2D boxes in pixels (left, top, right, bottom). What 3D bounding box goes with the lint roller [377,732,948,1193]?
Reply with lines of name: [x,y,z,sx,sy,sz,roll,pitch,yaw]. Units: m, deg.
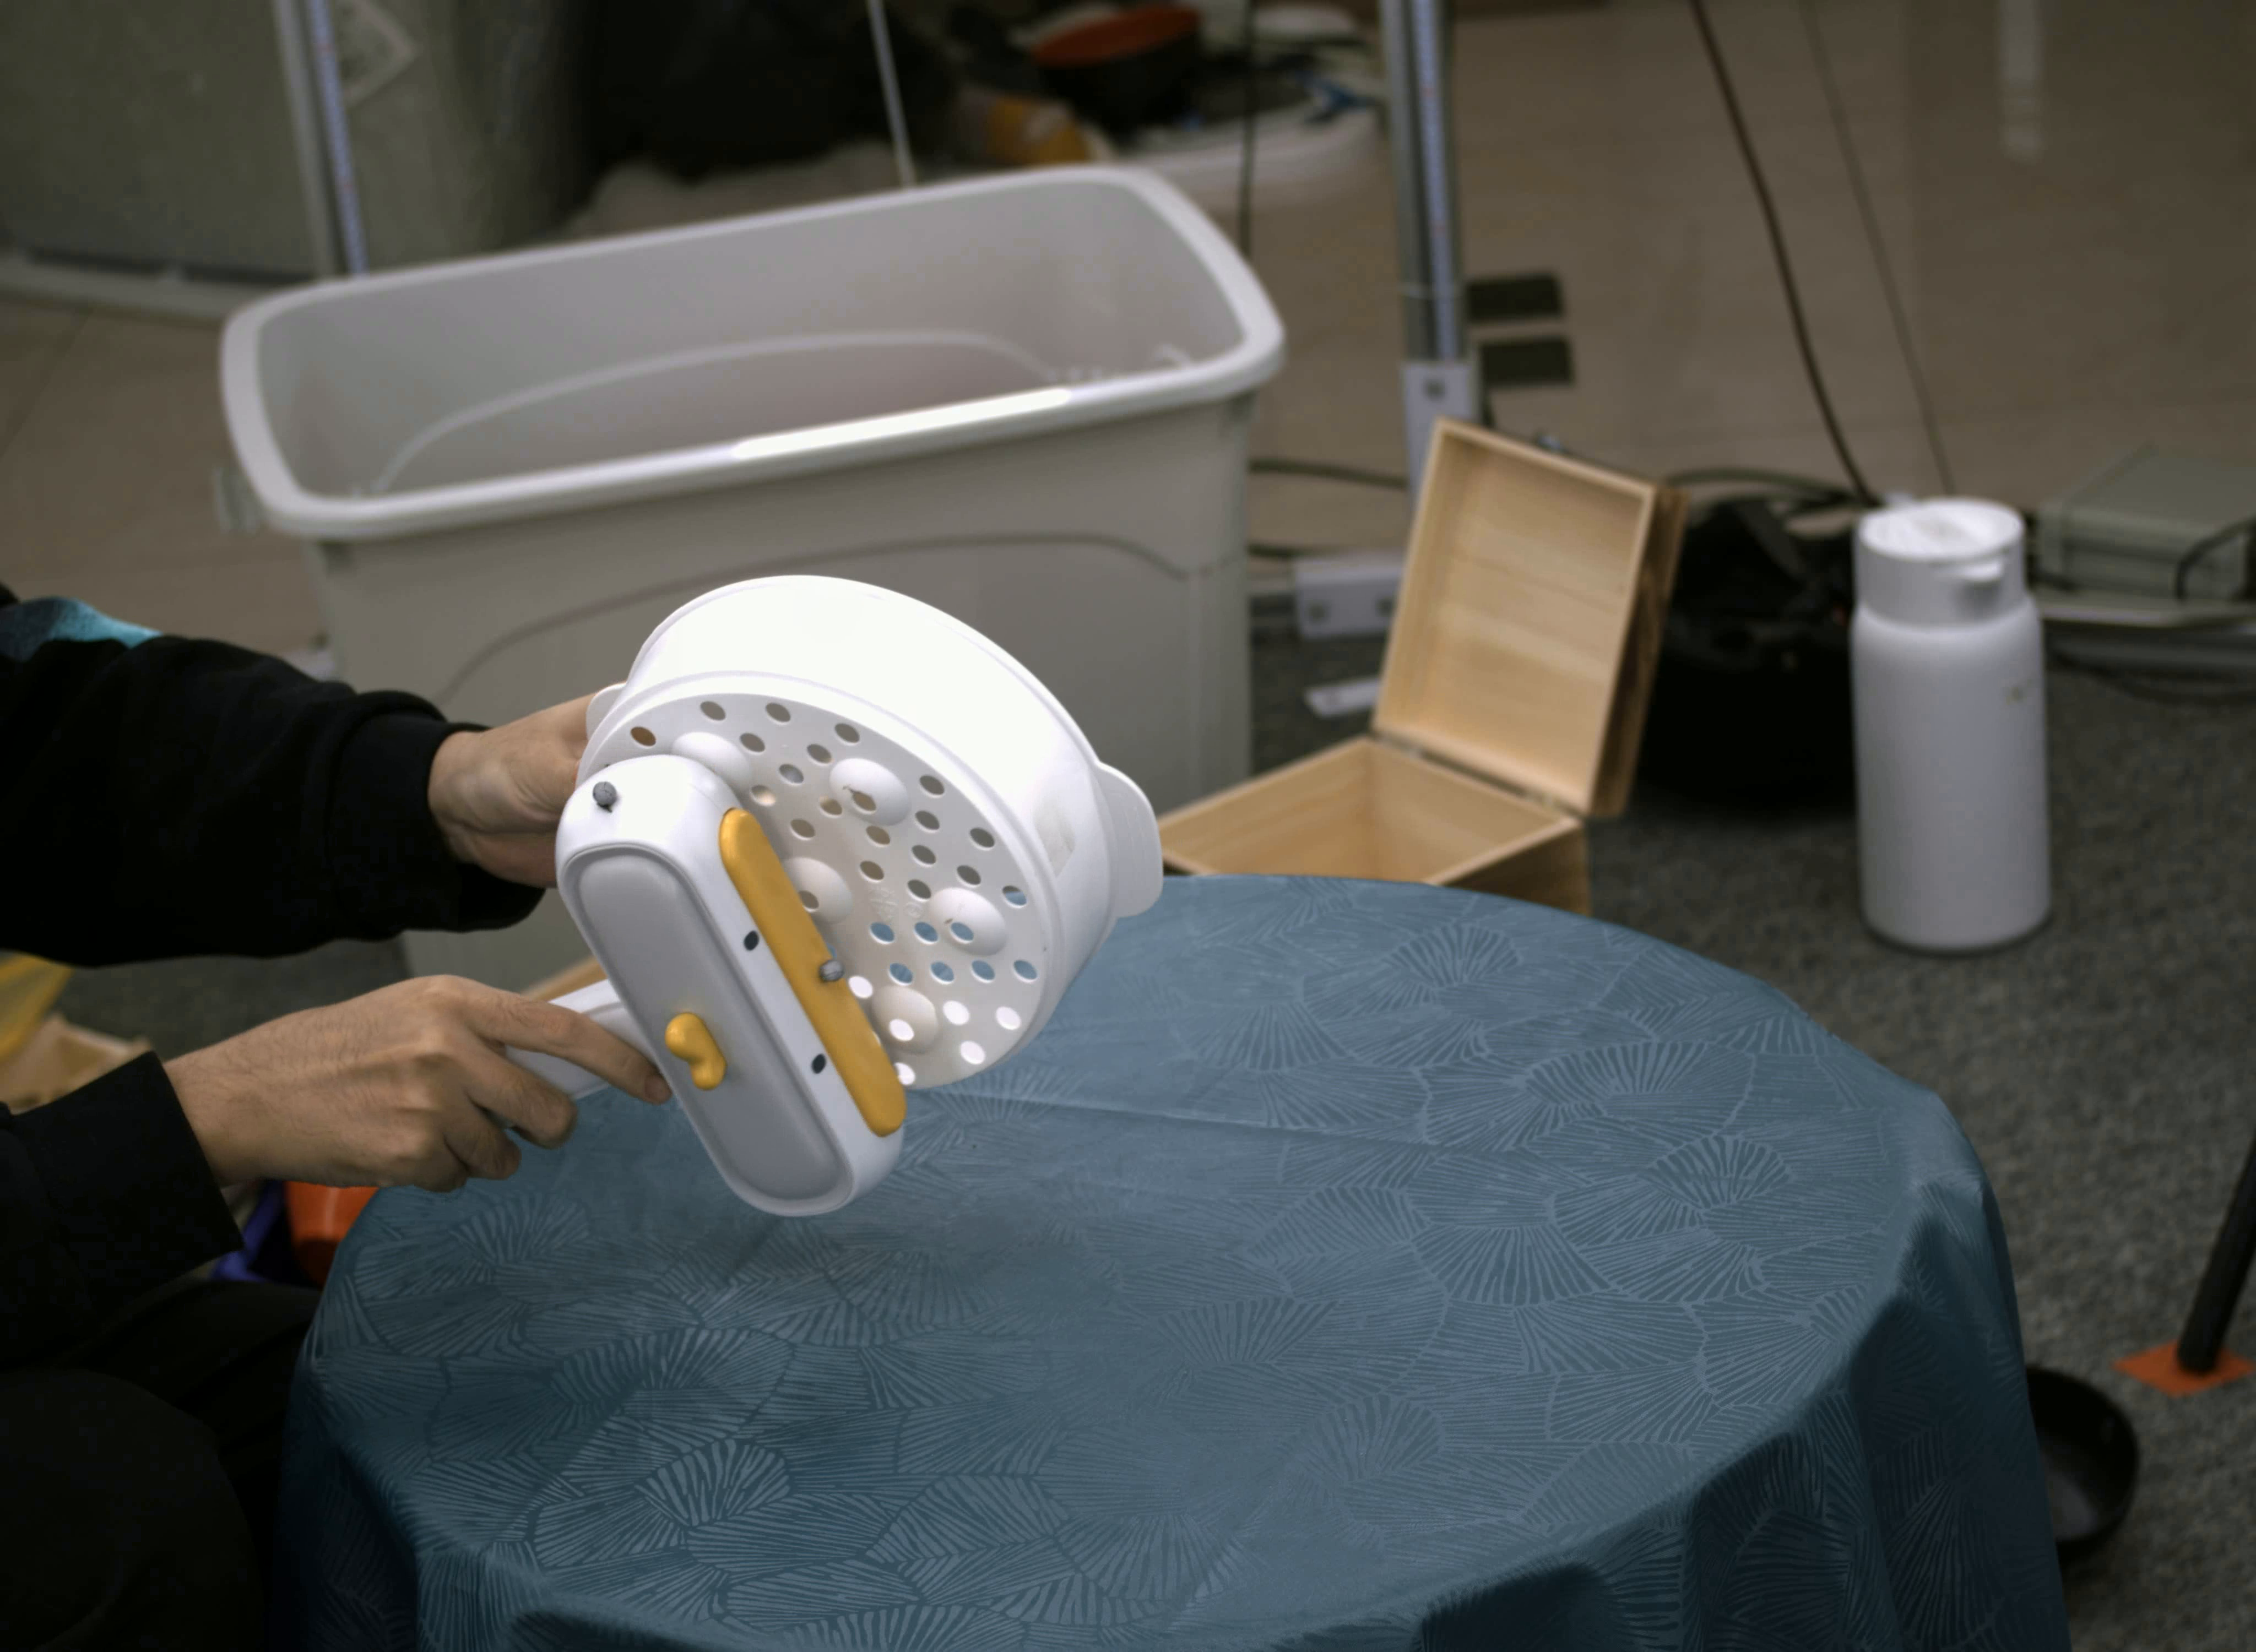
lint roller: [-0.182,0.072,2.025,0.193,0.195,0.073,-19,35,25]

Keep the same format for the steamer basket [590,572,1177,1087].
steamer basket: [-0.099,0.006,2.049,0.229,0.206,0.068,10,43,19]
